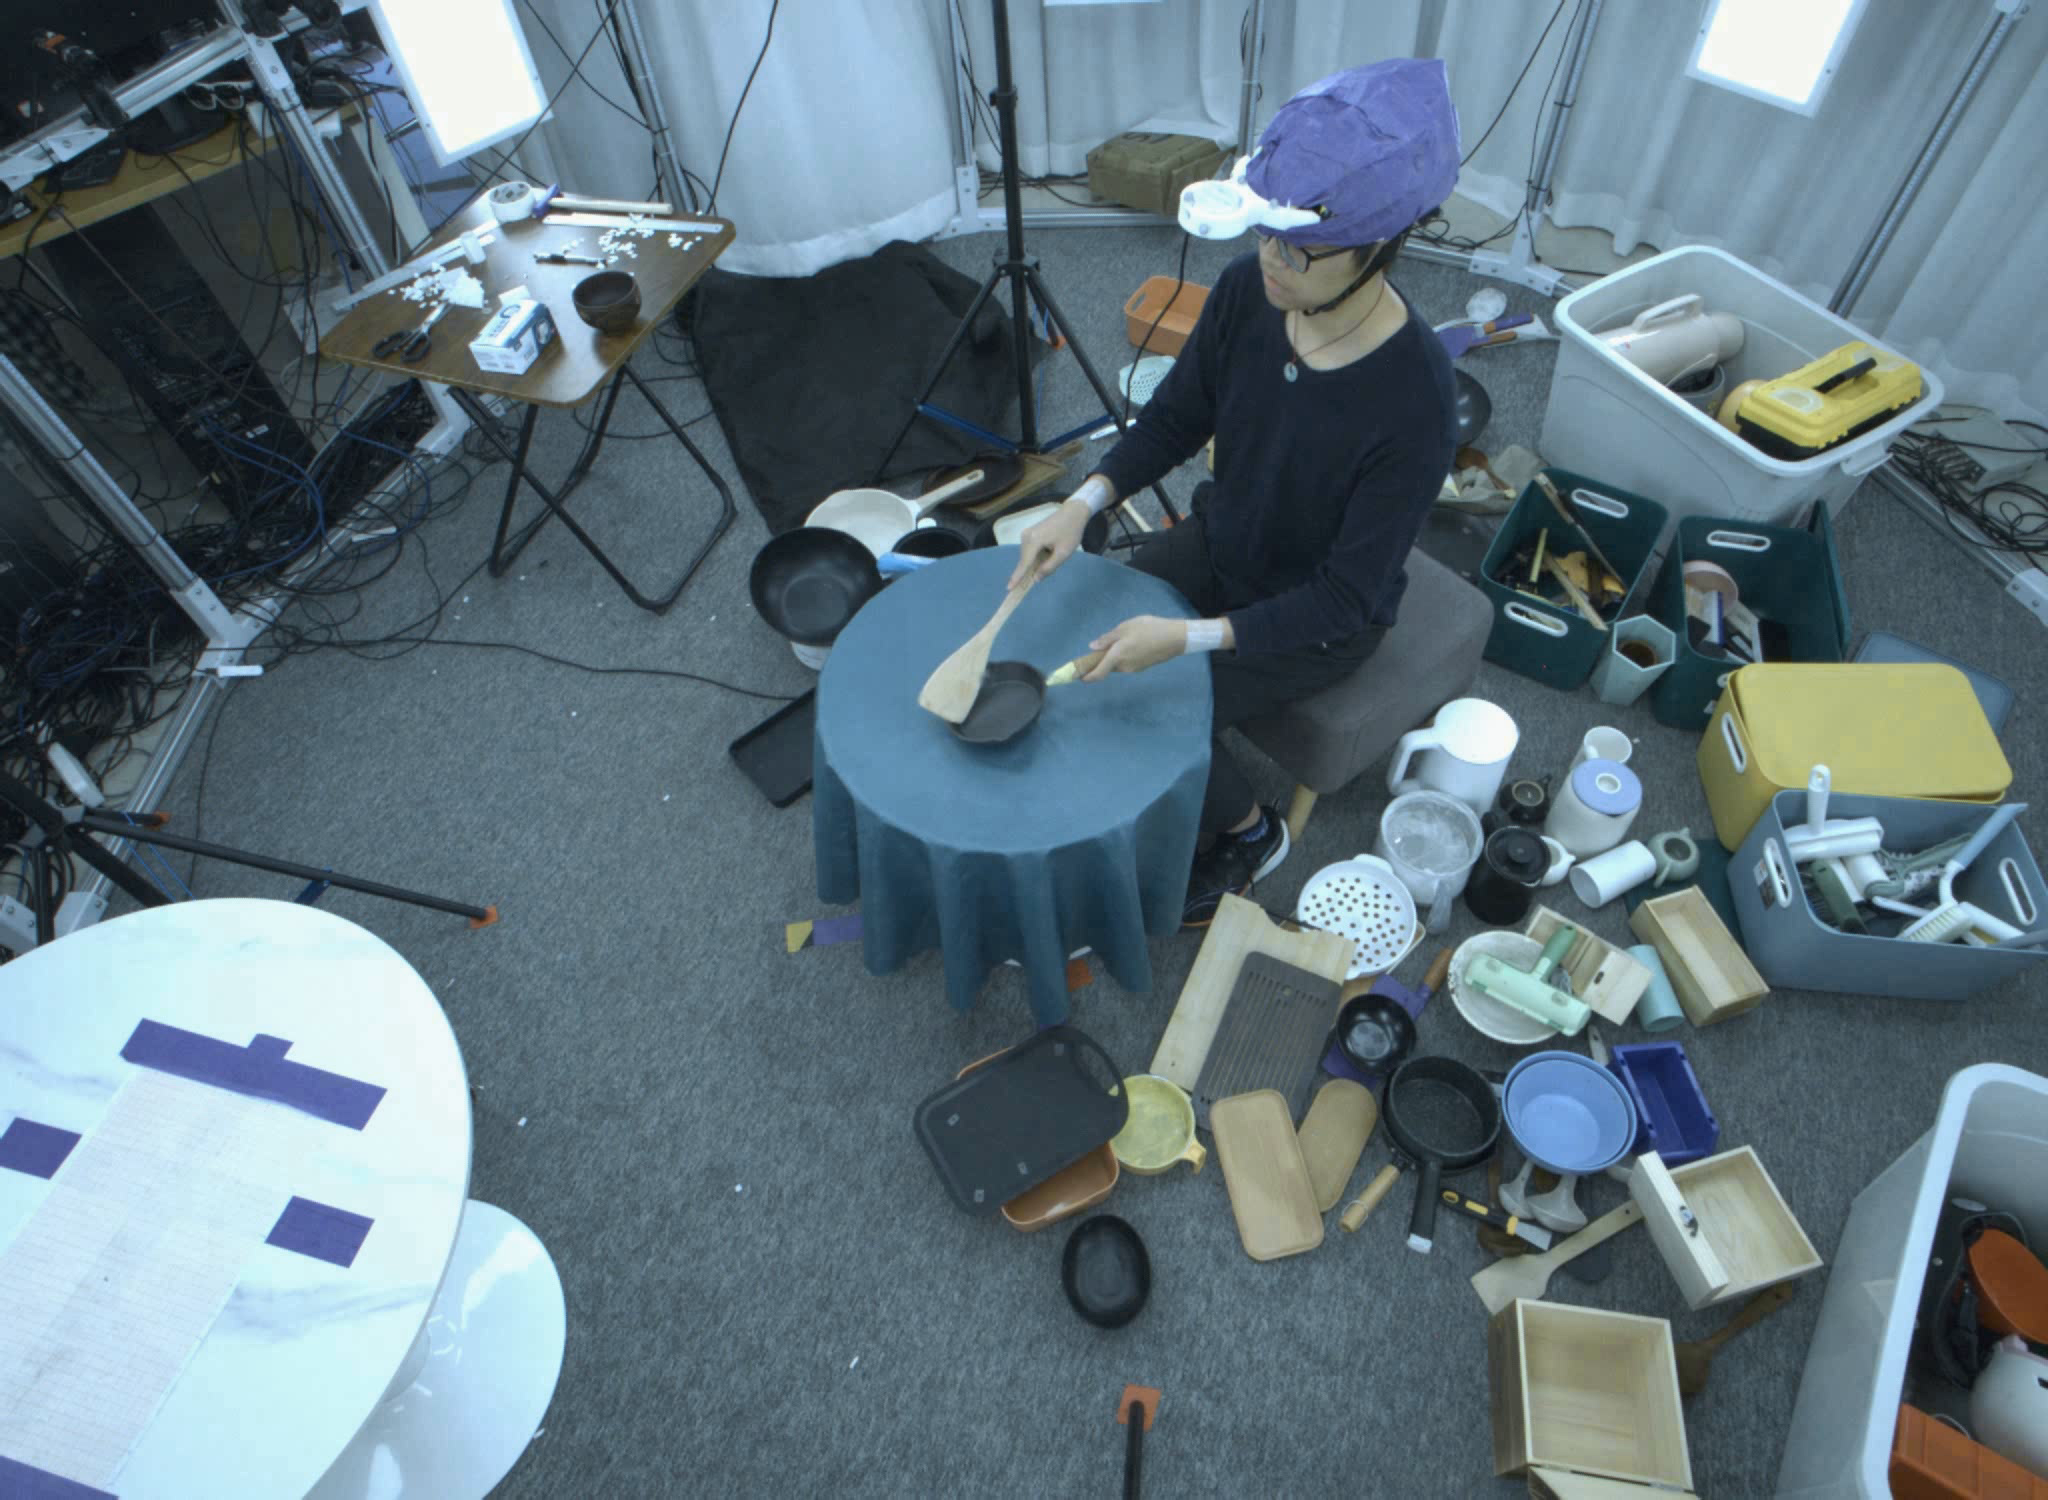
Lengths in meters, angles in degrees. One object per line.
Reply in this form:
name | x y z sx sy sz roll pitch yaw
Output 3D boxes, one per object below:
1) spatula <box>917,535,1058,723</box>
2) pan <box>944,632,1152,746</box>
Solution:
spatula | -0.042 -0.183 1.810 0.081 0.016 0.328 37 81 -23
pan | 0.037 -0.098 1.782 0.323 0.050 0.166 -20 46 6
